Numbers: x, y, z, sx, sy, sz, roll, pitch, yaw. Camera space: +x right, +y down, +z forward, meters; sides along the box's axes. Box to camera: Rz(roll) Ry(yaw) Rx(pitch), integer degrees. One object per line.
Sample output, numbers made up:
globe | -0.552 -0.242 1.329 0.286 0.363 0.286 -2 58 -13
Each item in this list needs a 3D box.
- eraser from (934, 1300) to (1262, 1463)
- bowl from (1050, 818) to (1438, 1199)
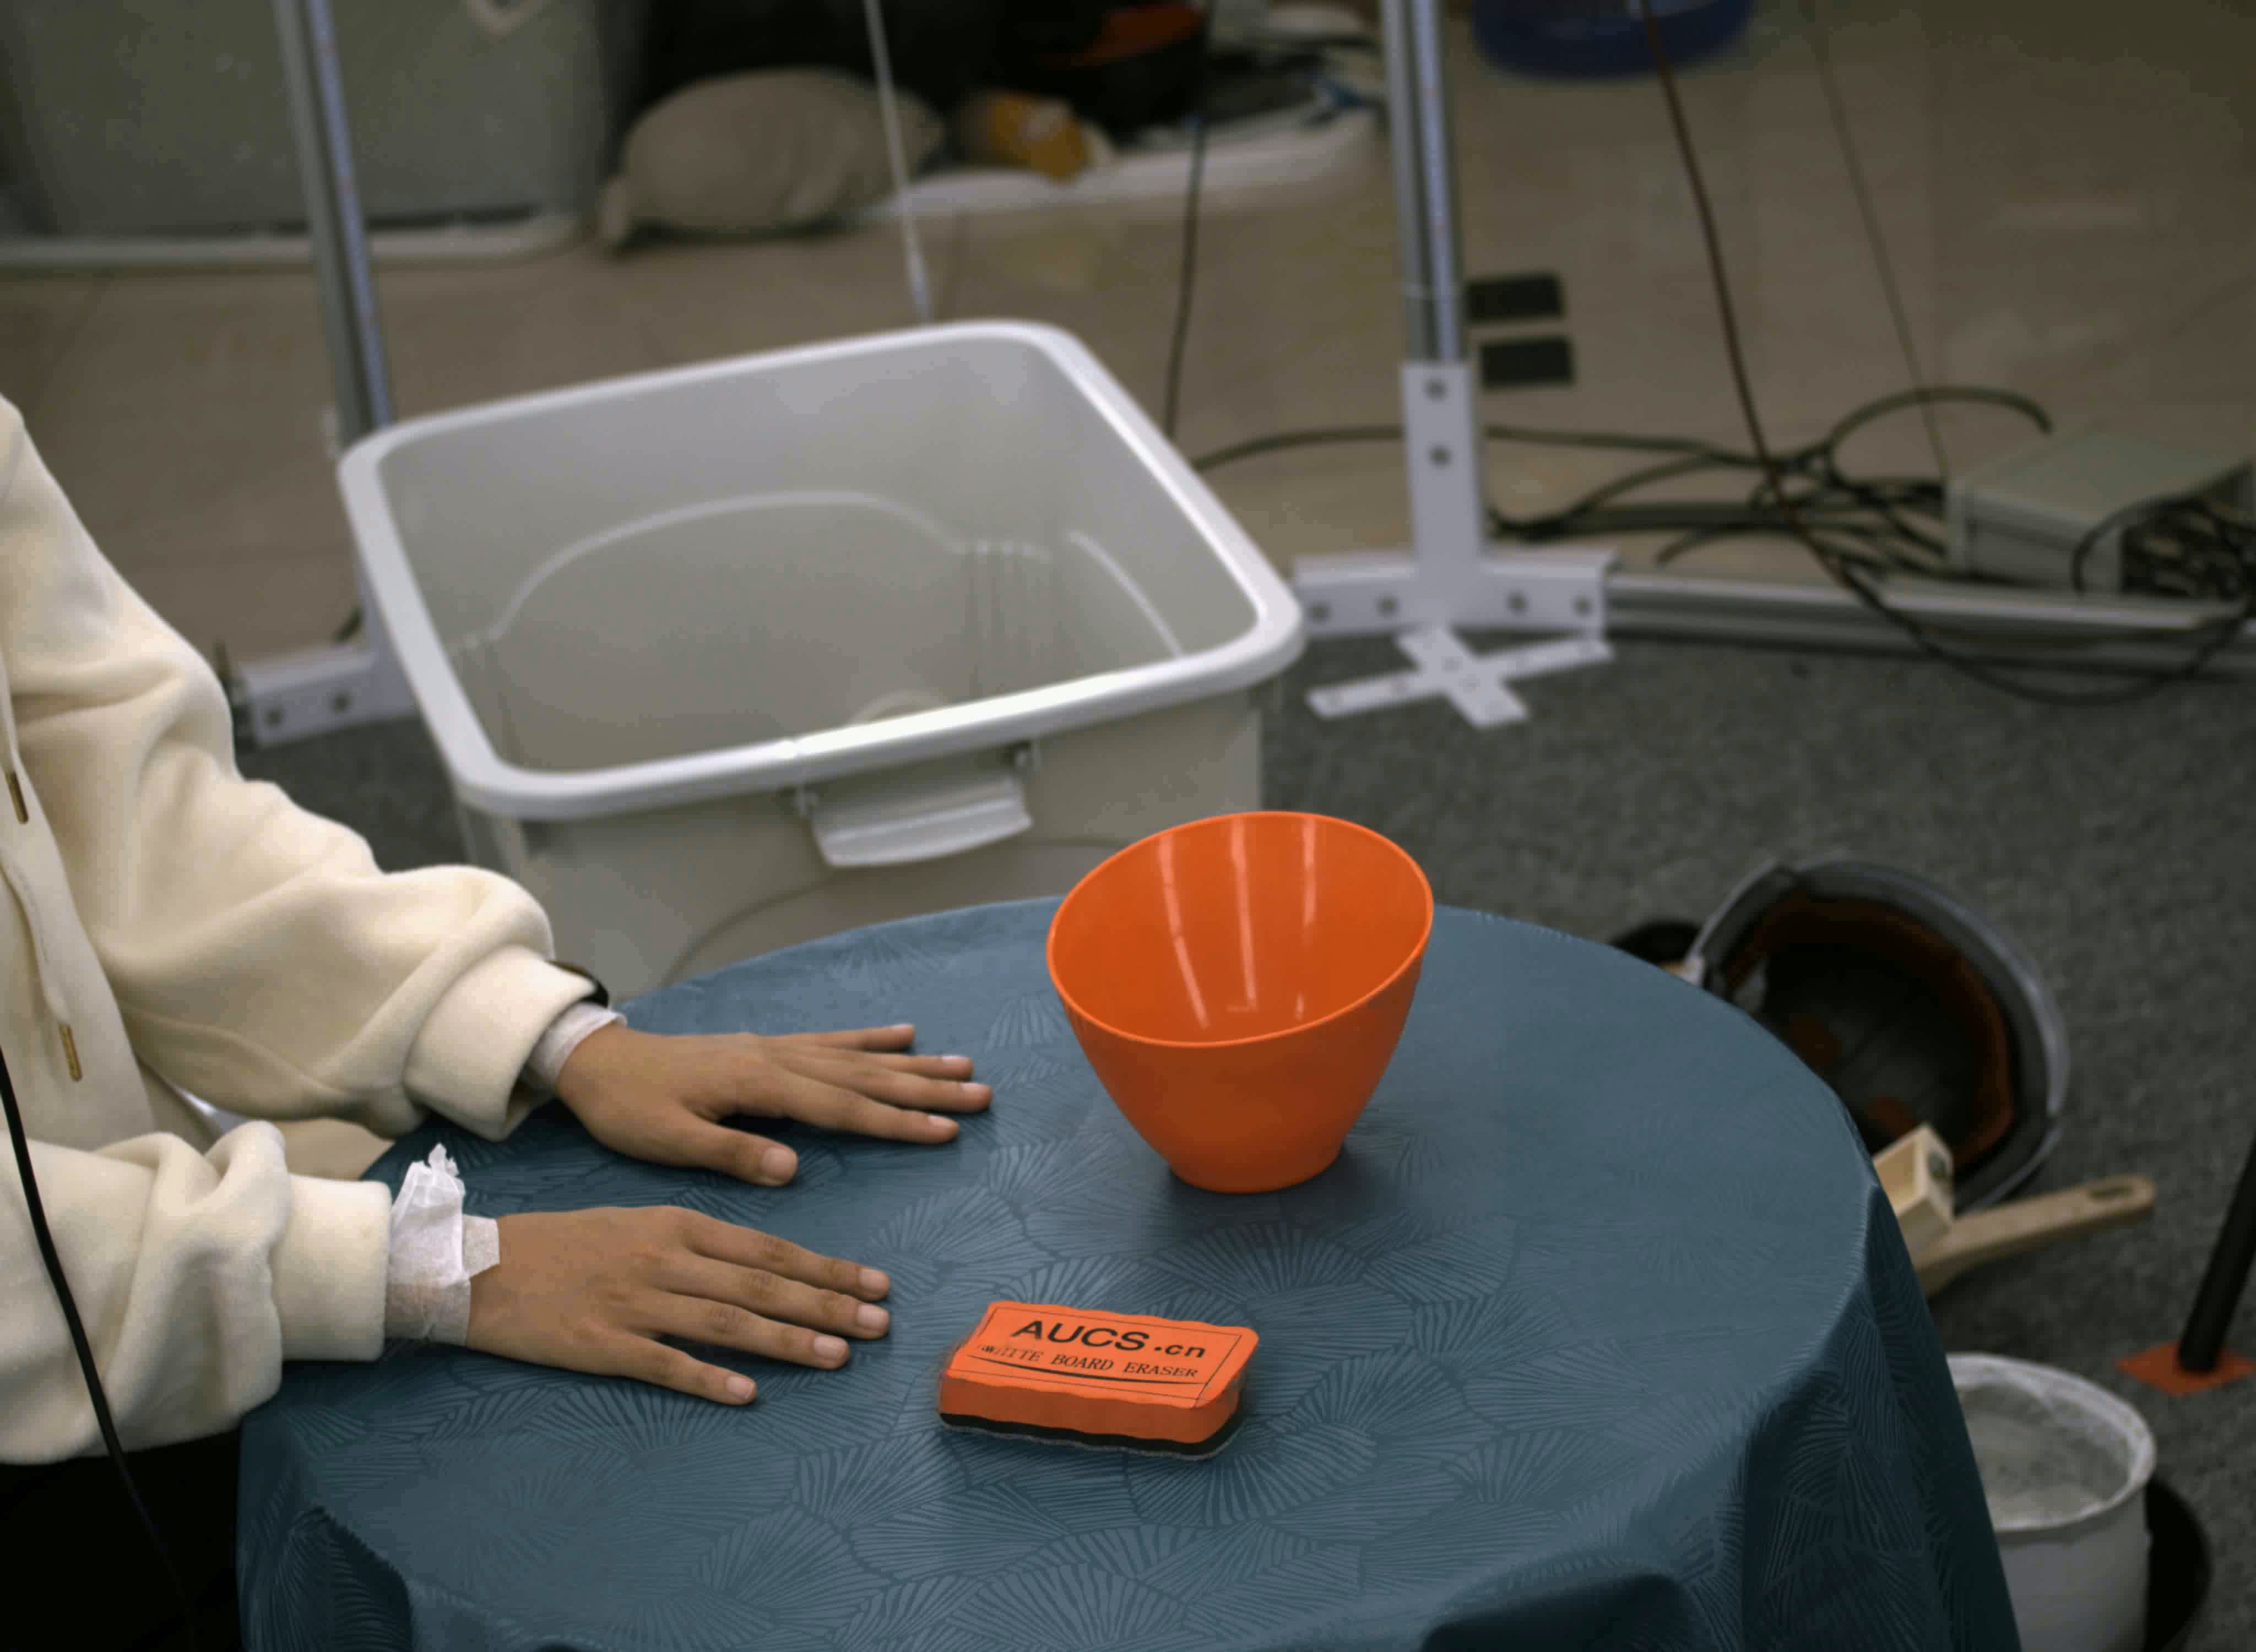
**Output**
eraser | -0.010 0.195 2.002 0.107 0.023 0.058 5 29 23
bowl | 0.047 0.075 2.152 0.148 0.106 0.146 -5 26 2
